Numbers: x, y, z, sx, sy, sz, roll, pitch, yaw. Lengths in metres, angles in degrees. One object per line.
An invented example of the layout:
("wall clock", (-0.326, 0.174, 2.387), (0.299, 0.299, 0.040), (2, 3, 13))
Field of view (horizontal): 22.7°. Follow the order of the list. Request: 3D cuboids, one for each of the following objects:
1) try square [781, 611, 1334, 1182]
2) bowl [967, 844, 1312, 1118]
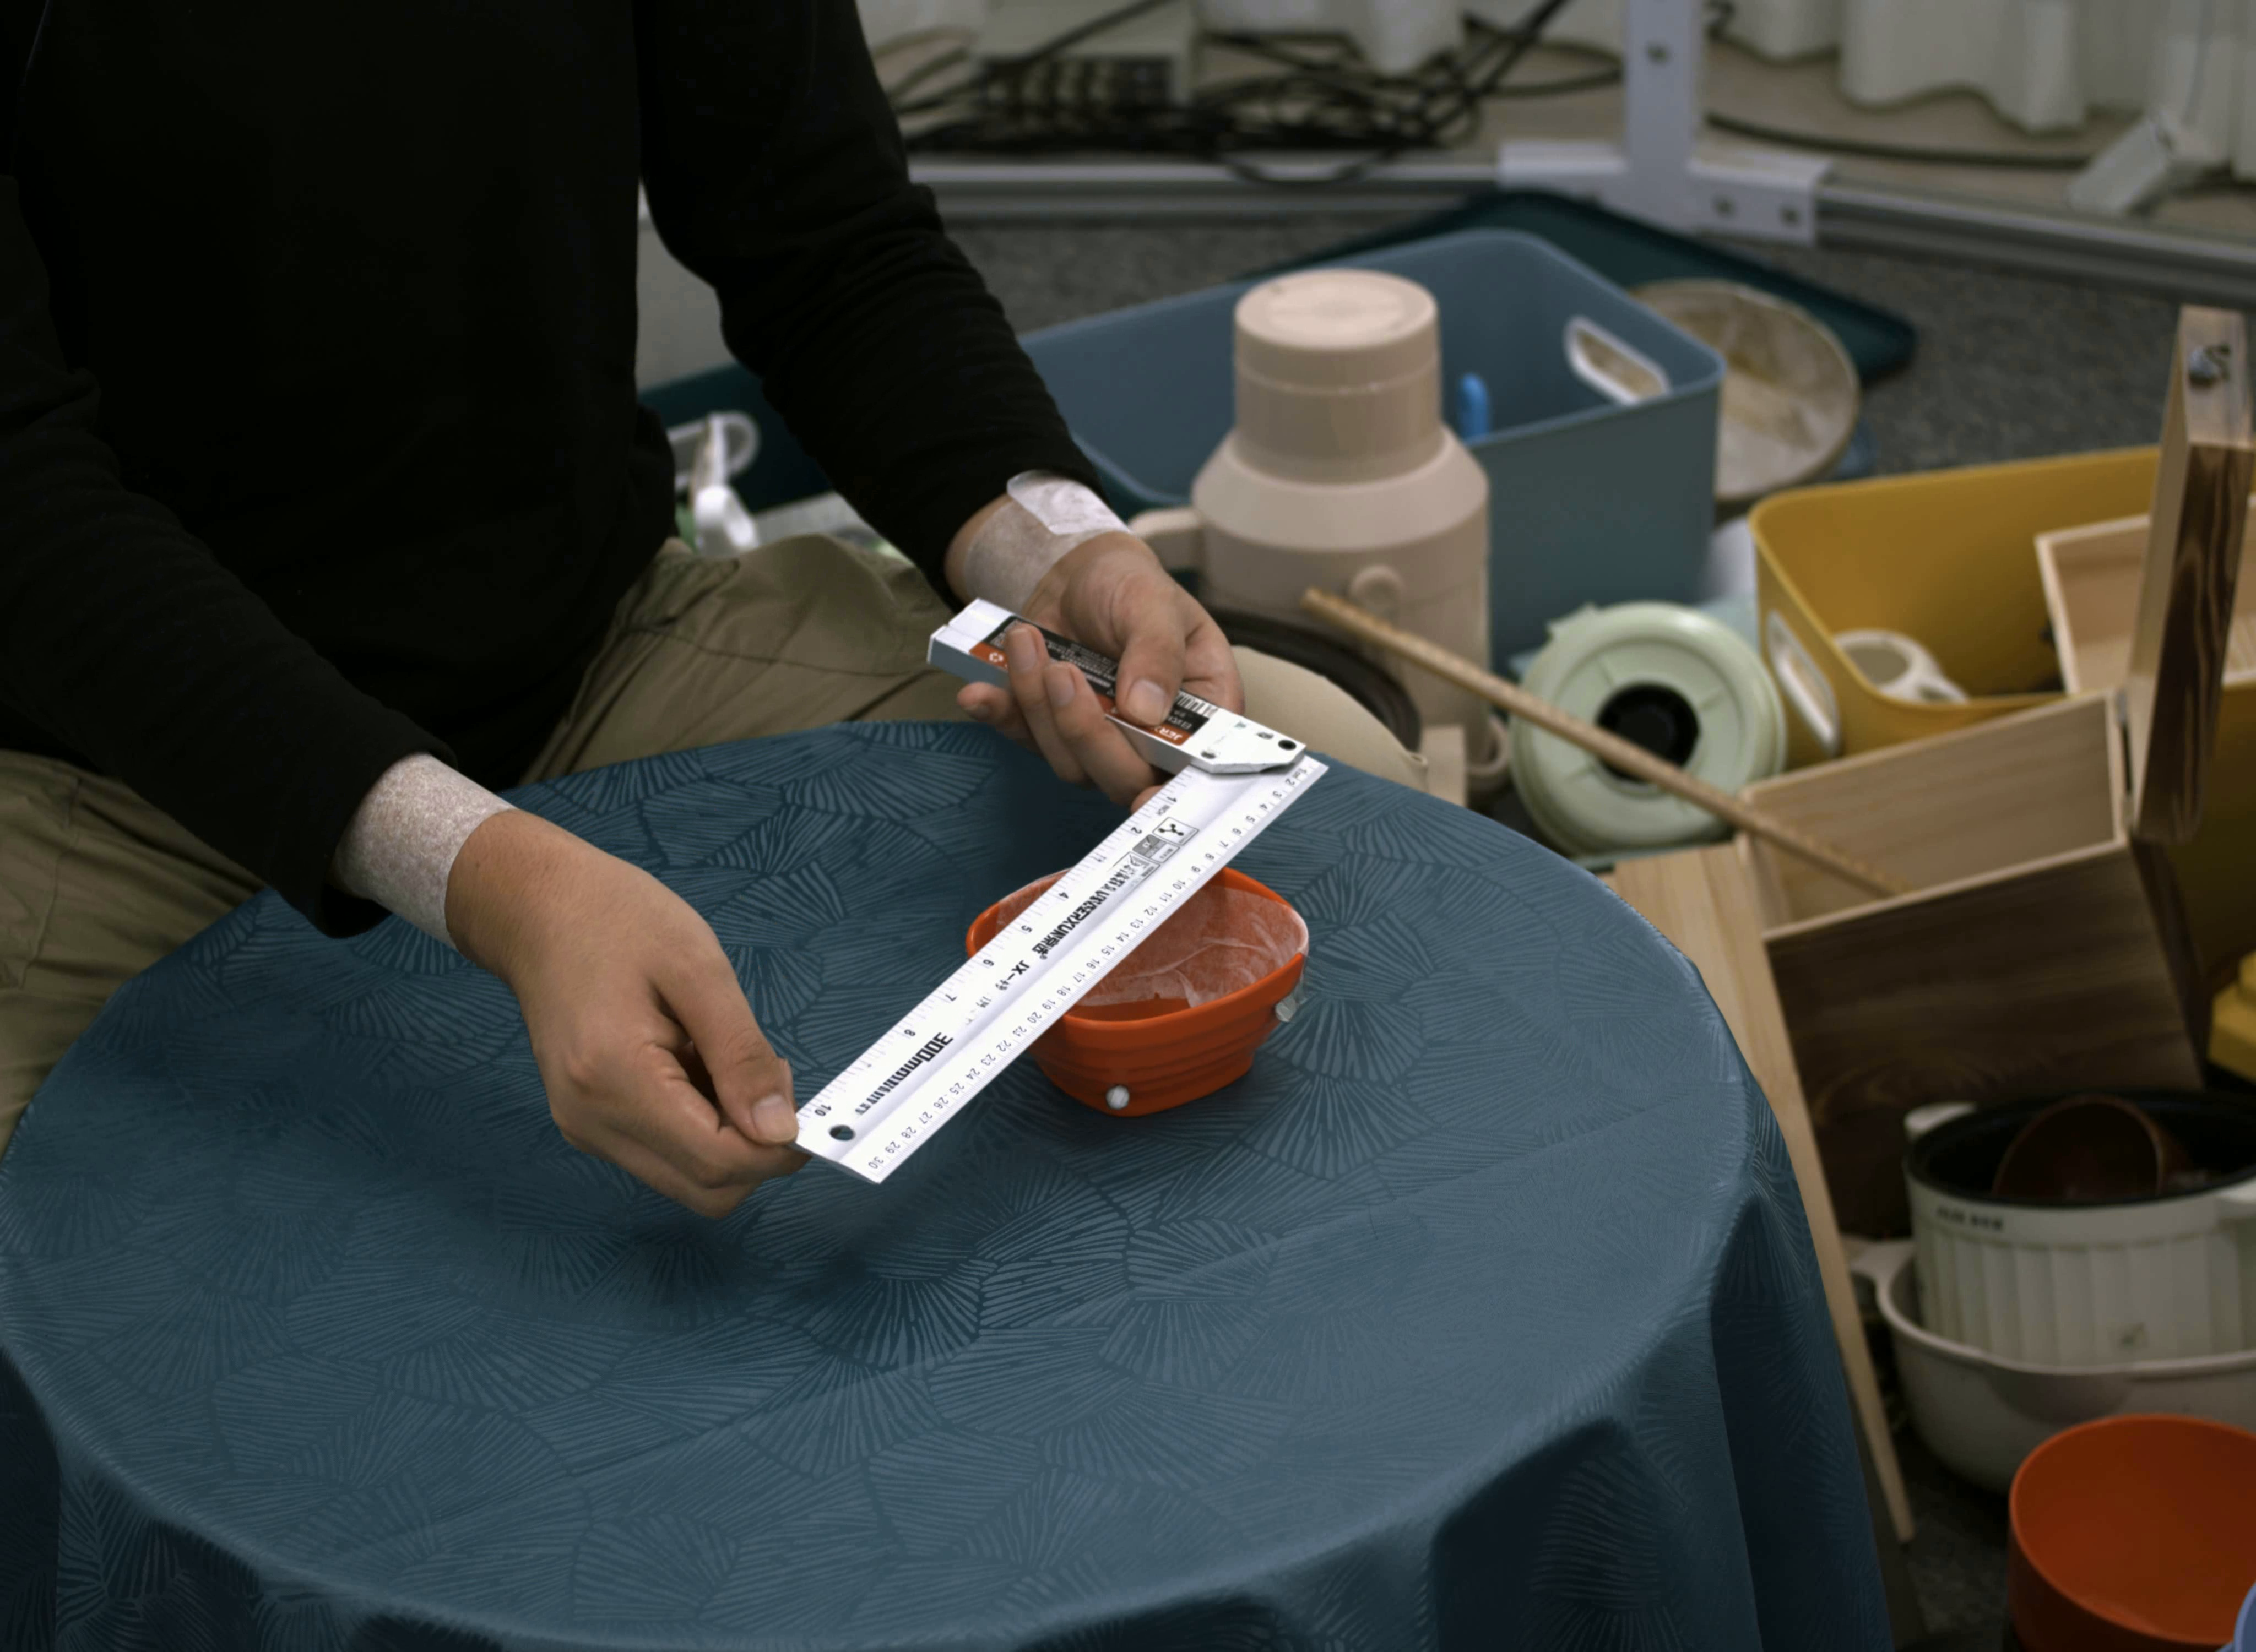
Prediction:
("try square", (-0.065, 0.018, 1.926), (0.152, 0.015, 0.318), (22, 35, 21))
("bowl", (0.004, 0.058, 1.925), (0.118, 0.051, 0.121), (-2, 31, 1))
